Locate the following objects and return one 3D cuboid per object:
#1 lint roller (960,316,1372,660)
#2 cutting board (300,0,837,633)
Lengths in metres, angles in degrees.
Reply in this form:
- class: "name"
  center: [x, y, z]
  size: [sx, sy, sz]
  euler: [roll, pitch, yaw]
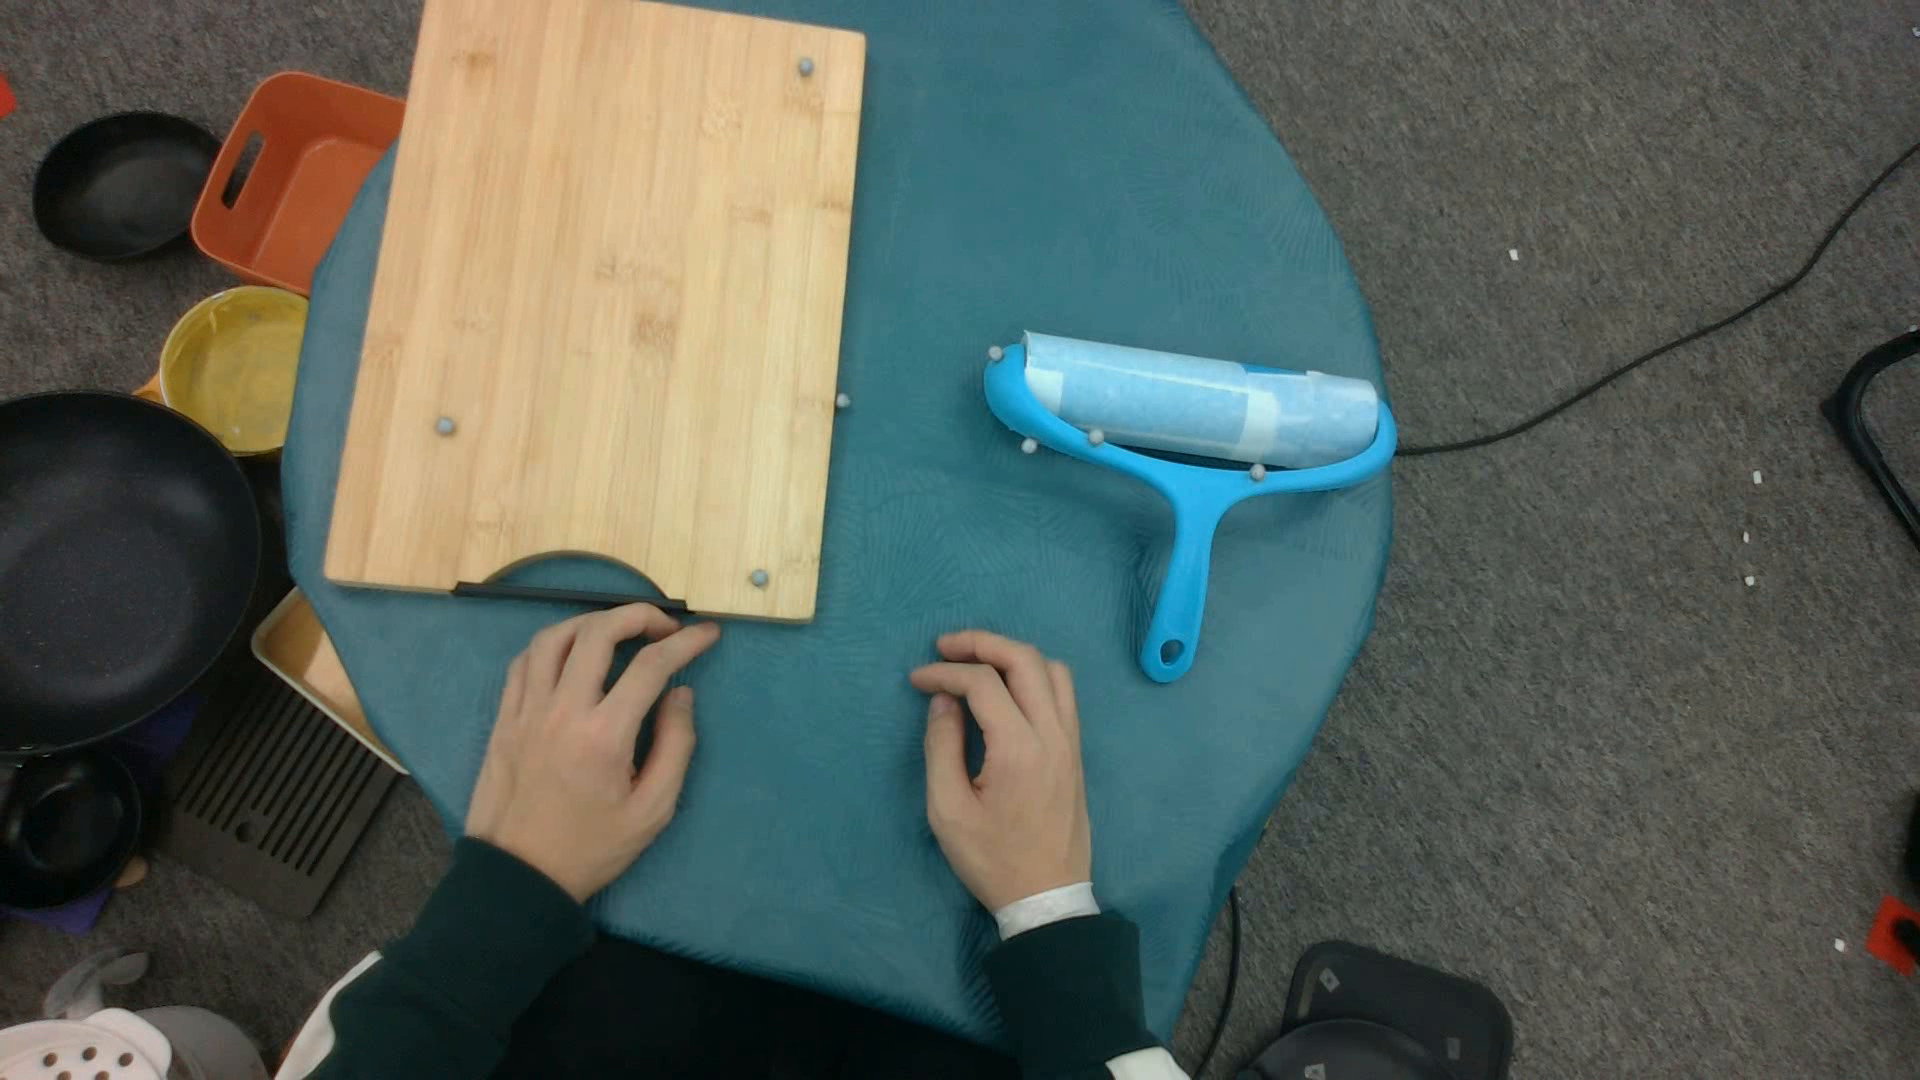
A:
- class: "lint roller"
  center: [0.113, -0.029, 0.739]
  size: [0.229, 0.068, 0.180]
  euler: [3, 76, -9]
- class: "cutting board"
  center: [-0.198, -0.127, 0.737]
  size: [0.251, 0.023, 0.349]
  euler: [3, 76, -8]
